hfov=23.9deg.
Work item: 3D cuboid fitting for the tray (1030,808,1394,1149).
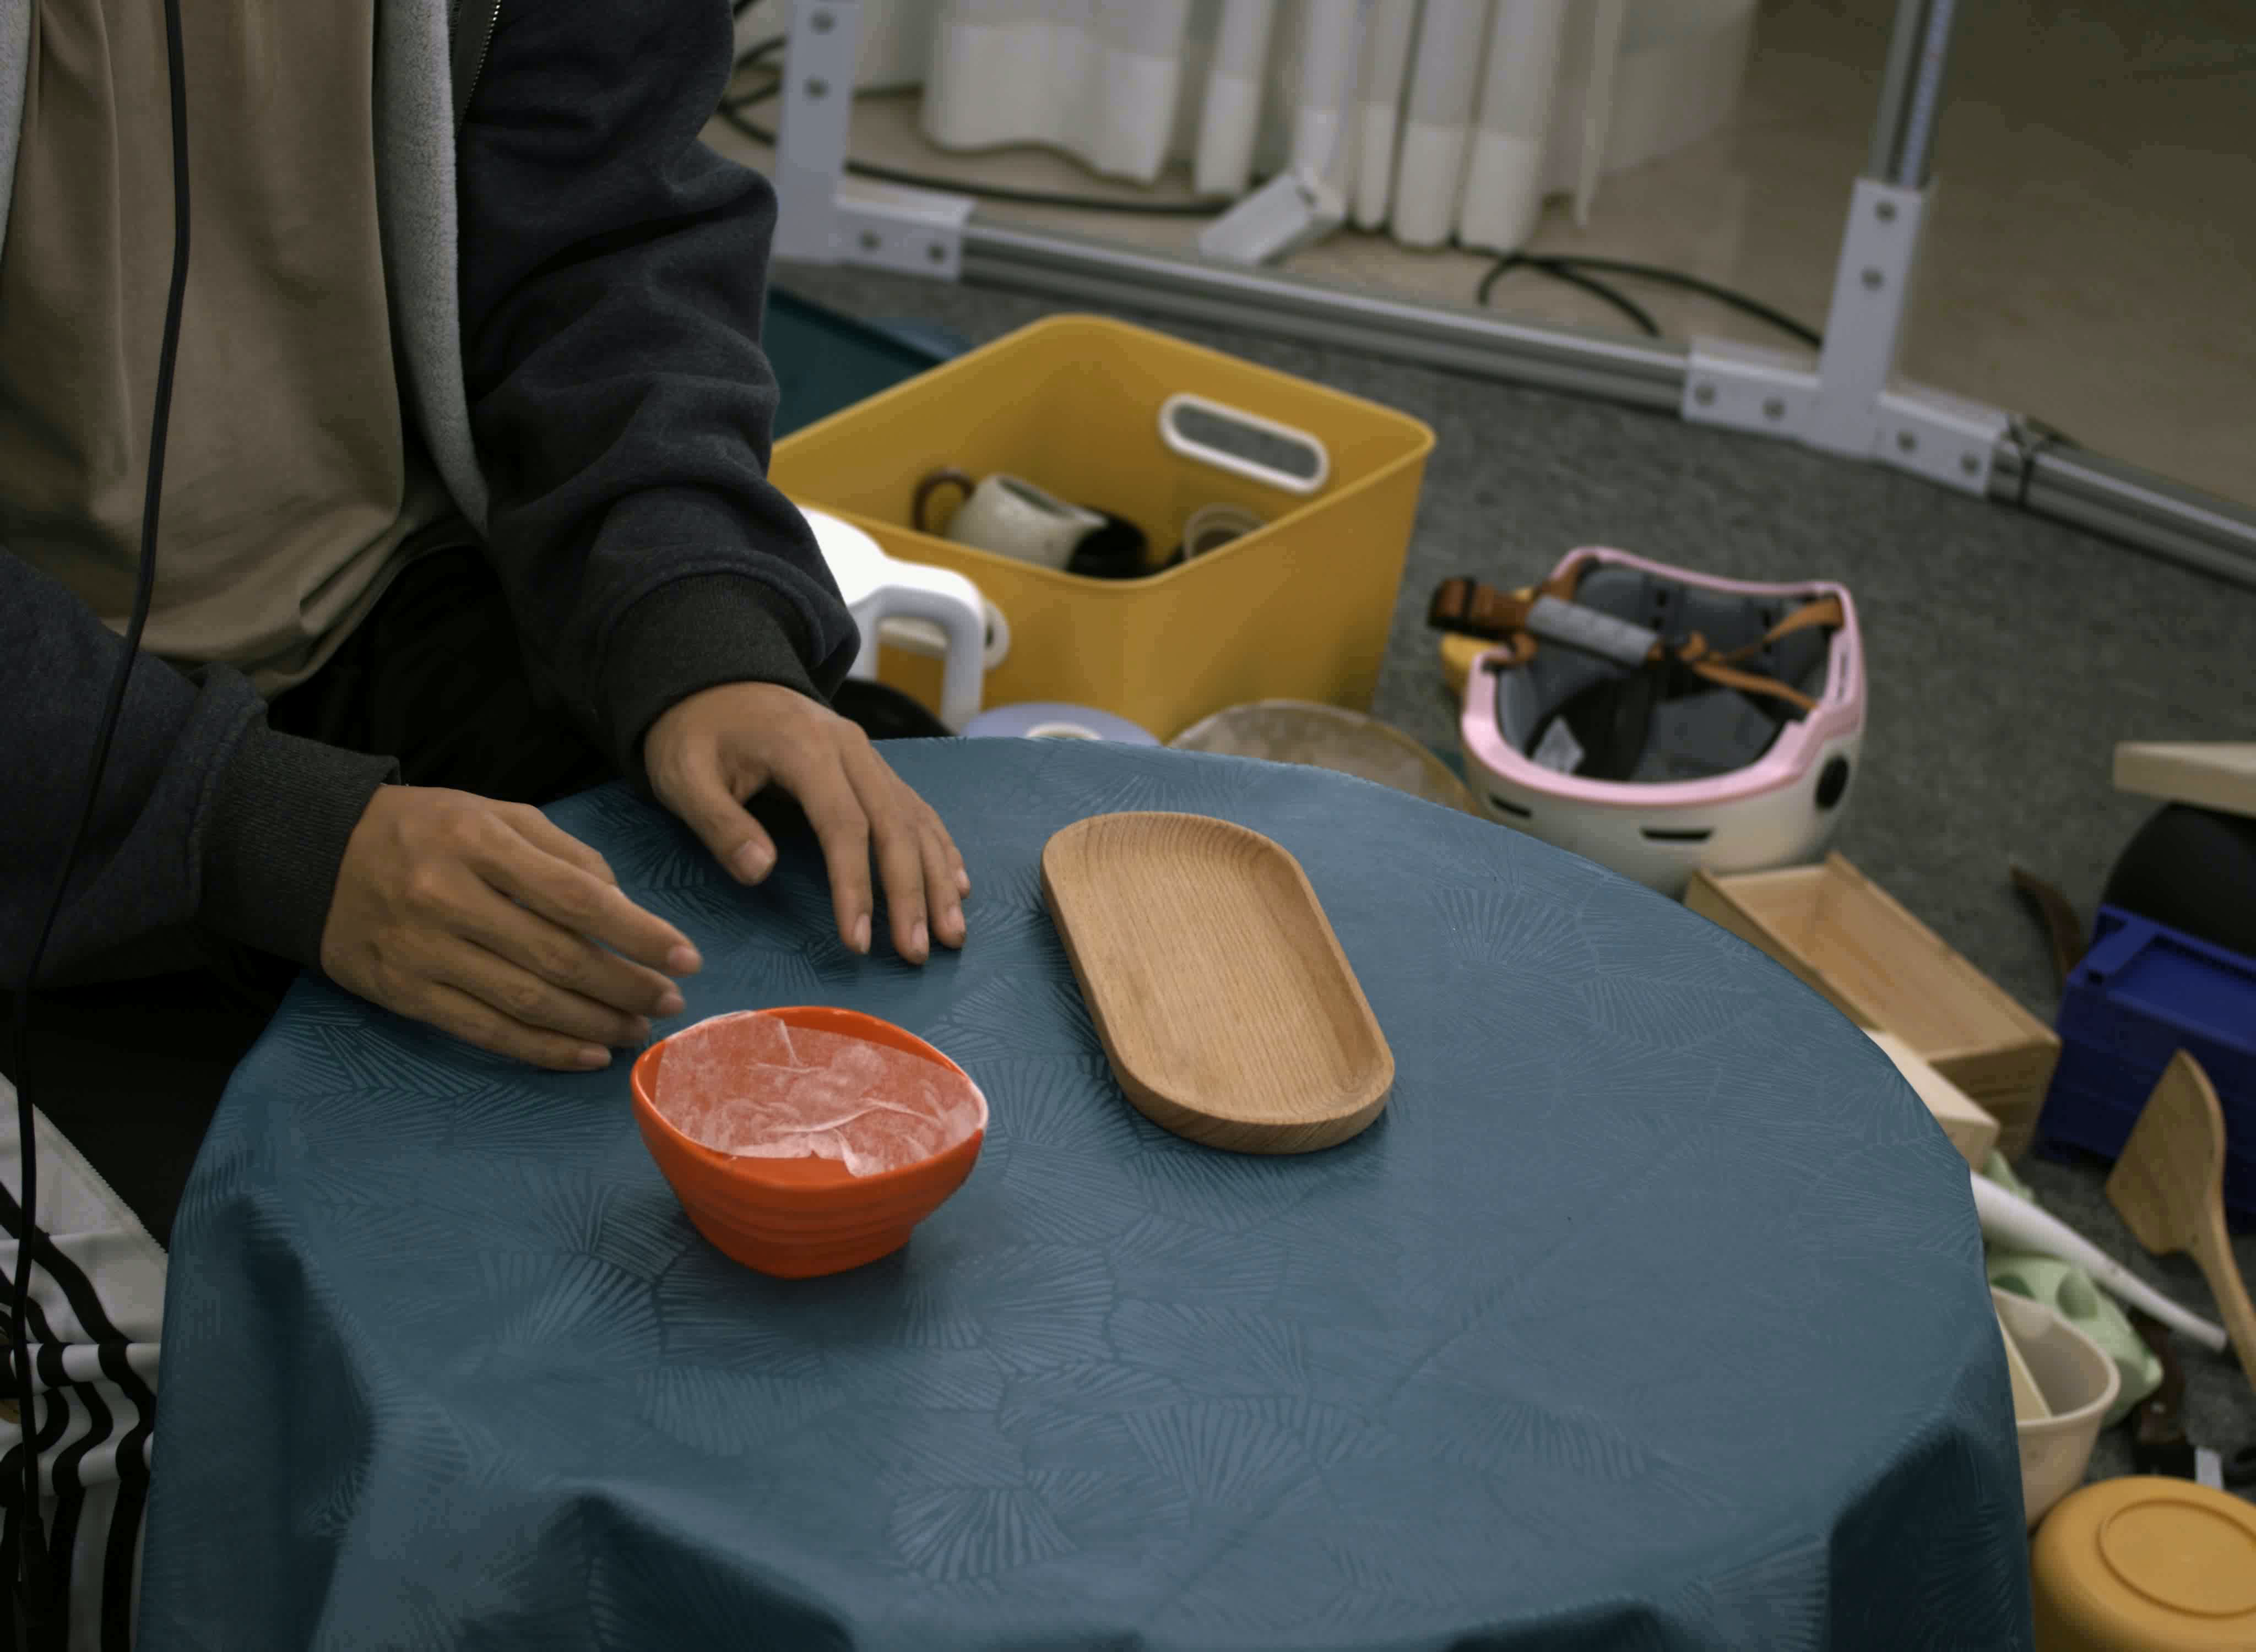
[{"bbox_3d":[0.028,0.053,1.929,0.101,0.020,0.233,0,27,-15],"label":"tray"}]

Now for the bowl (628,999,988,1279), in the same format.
[{"bbox_3d":[-0.107,0.107,1.751,0.118,0.051,0.119,5,28,-3],"label":"bowl"}]
